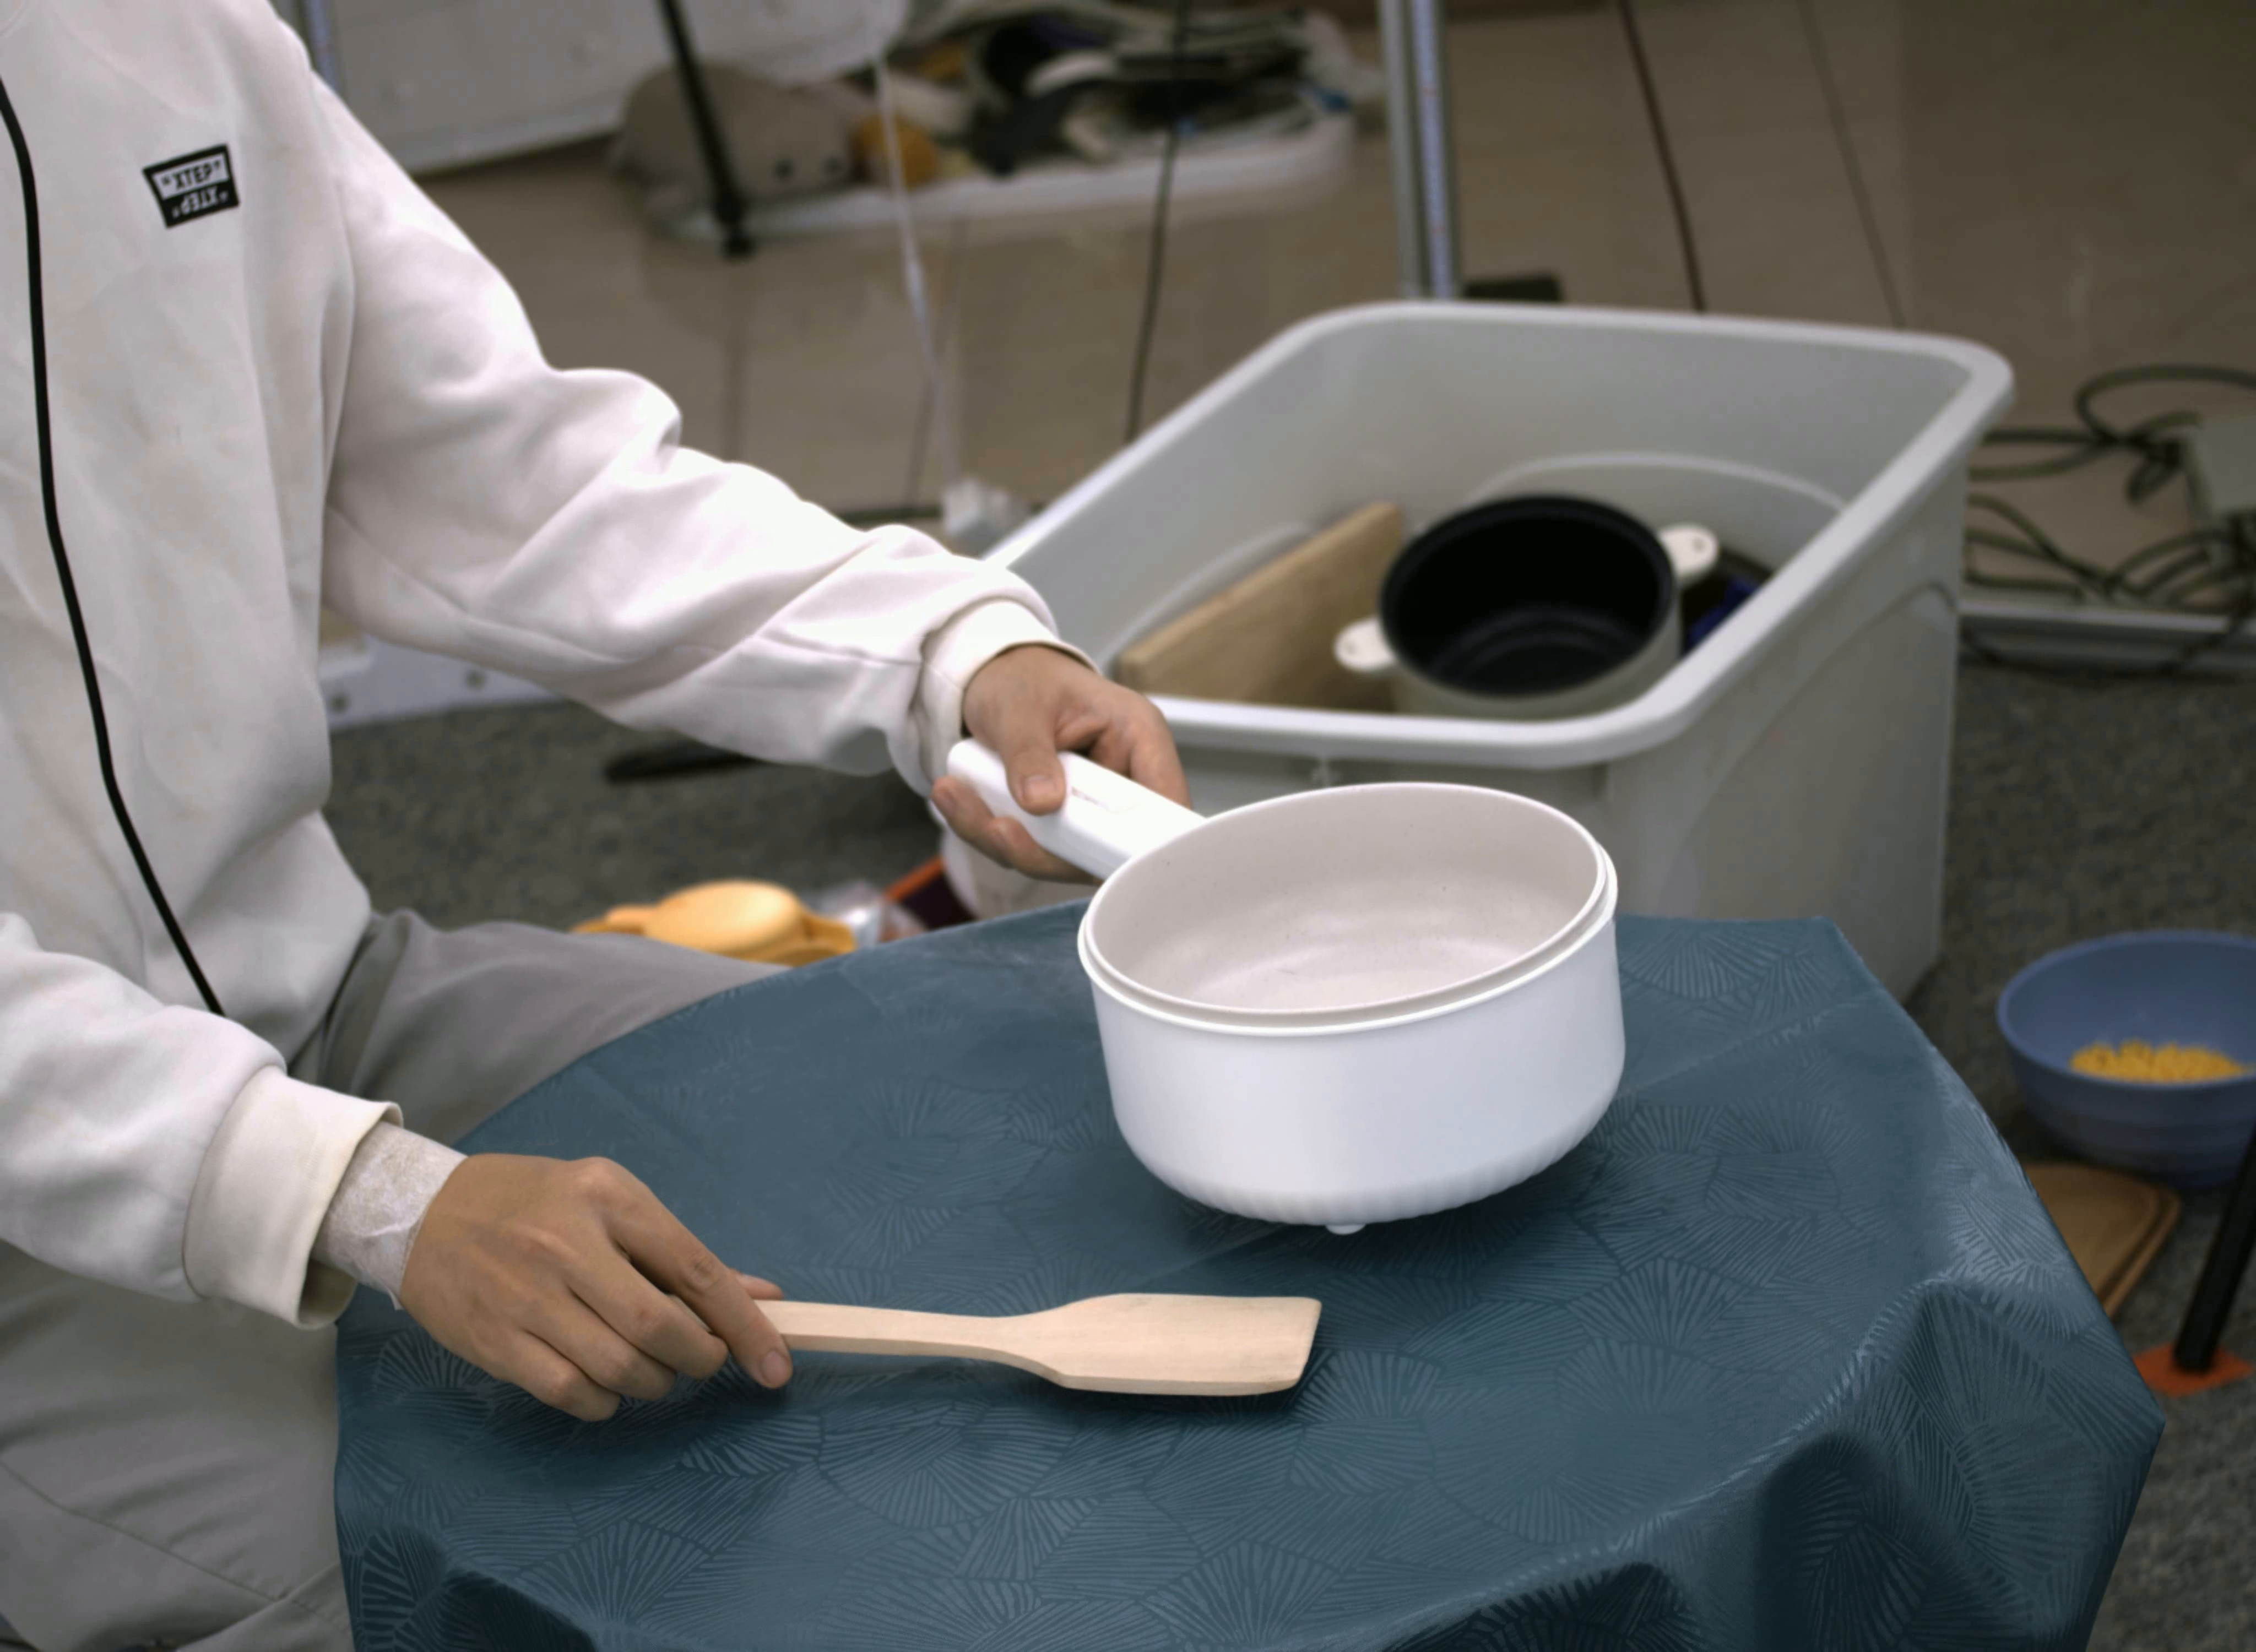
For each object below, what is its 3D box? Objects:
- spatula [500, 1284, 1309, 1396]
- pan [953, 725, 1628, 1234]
[{"bbox_3d":[-0.083,0.180,2.033,0.292,0.011,0.071,2,22,8],"label":"spatula"},{"bbox_3d":[0.045,0.051,2.178,0.200,0.103,0.351,-24,27,-27],"label":"pan"}]
